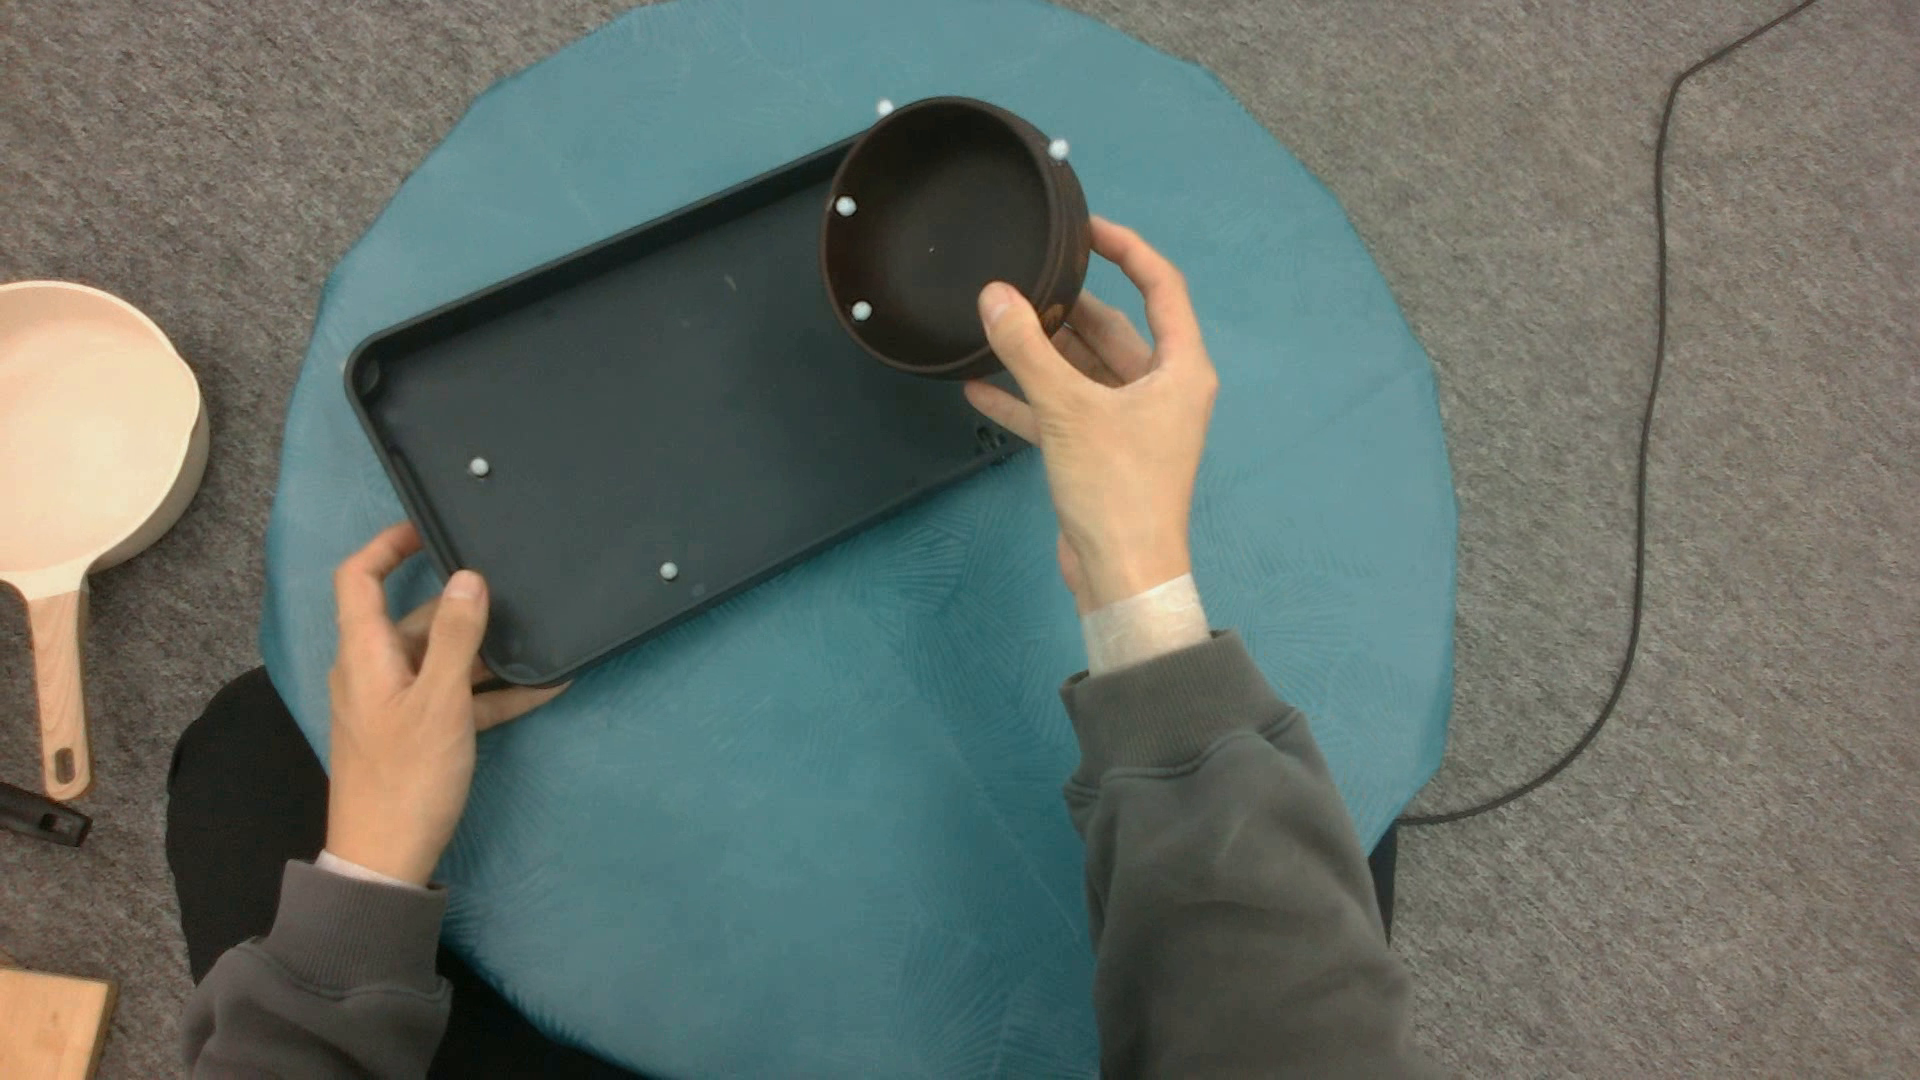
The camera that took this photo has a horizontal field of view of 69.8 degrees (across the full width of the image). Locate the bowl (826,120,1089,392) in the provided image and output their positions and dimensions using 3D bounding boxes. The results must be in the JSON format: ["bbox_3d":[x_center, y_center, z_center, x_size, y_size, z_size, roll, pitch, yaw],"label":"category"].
[{"bbox_3d":[0.006,-0.125,0.623,0.118,0.070,0.118,3,95,31],"label":"bowl"}]

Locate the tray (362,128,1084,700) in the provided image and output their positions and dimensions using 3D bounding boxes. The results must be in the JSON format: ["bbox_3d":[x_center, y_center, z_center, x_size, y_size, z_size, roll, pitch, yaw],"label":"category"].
[{"bbox_3d":[-0.111,-0.069,0.690,0.319,0.037,0.184,-29,83,-15],"label":"tray"}]
